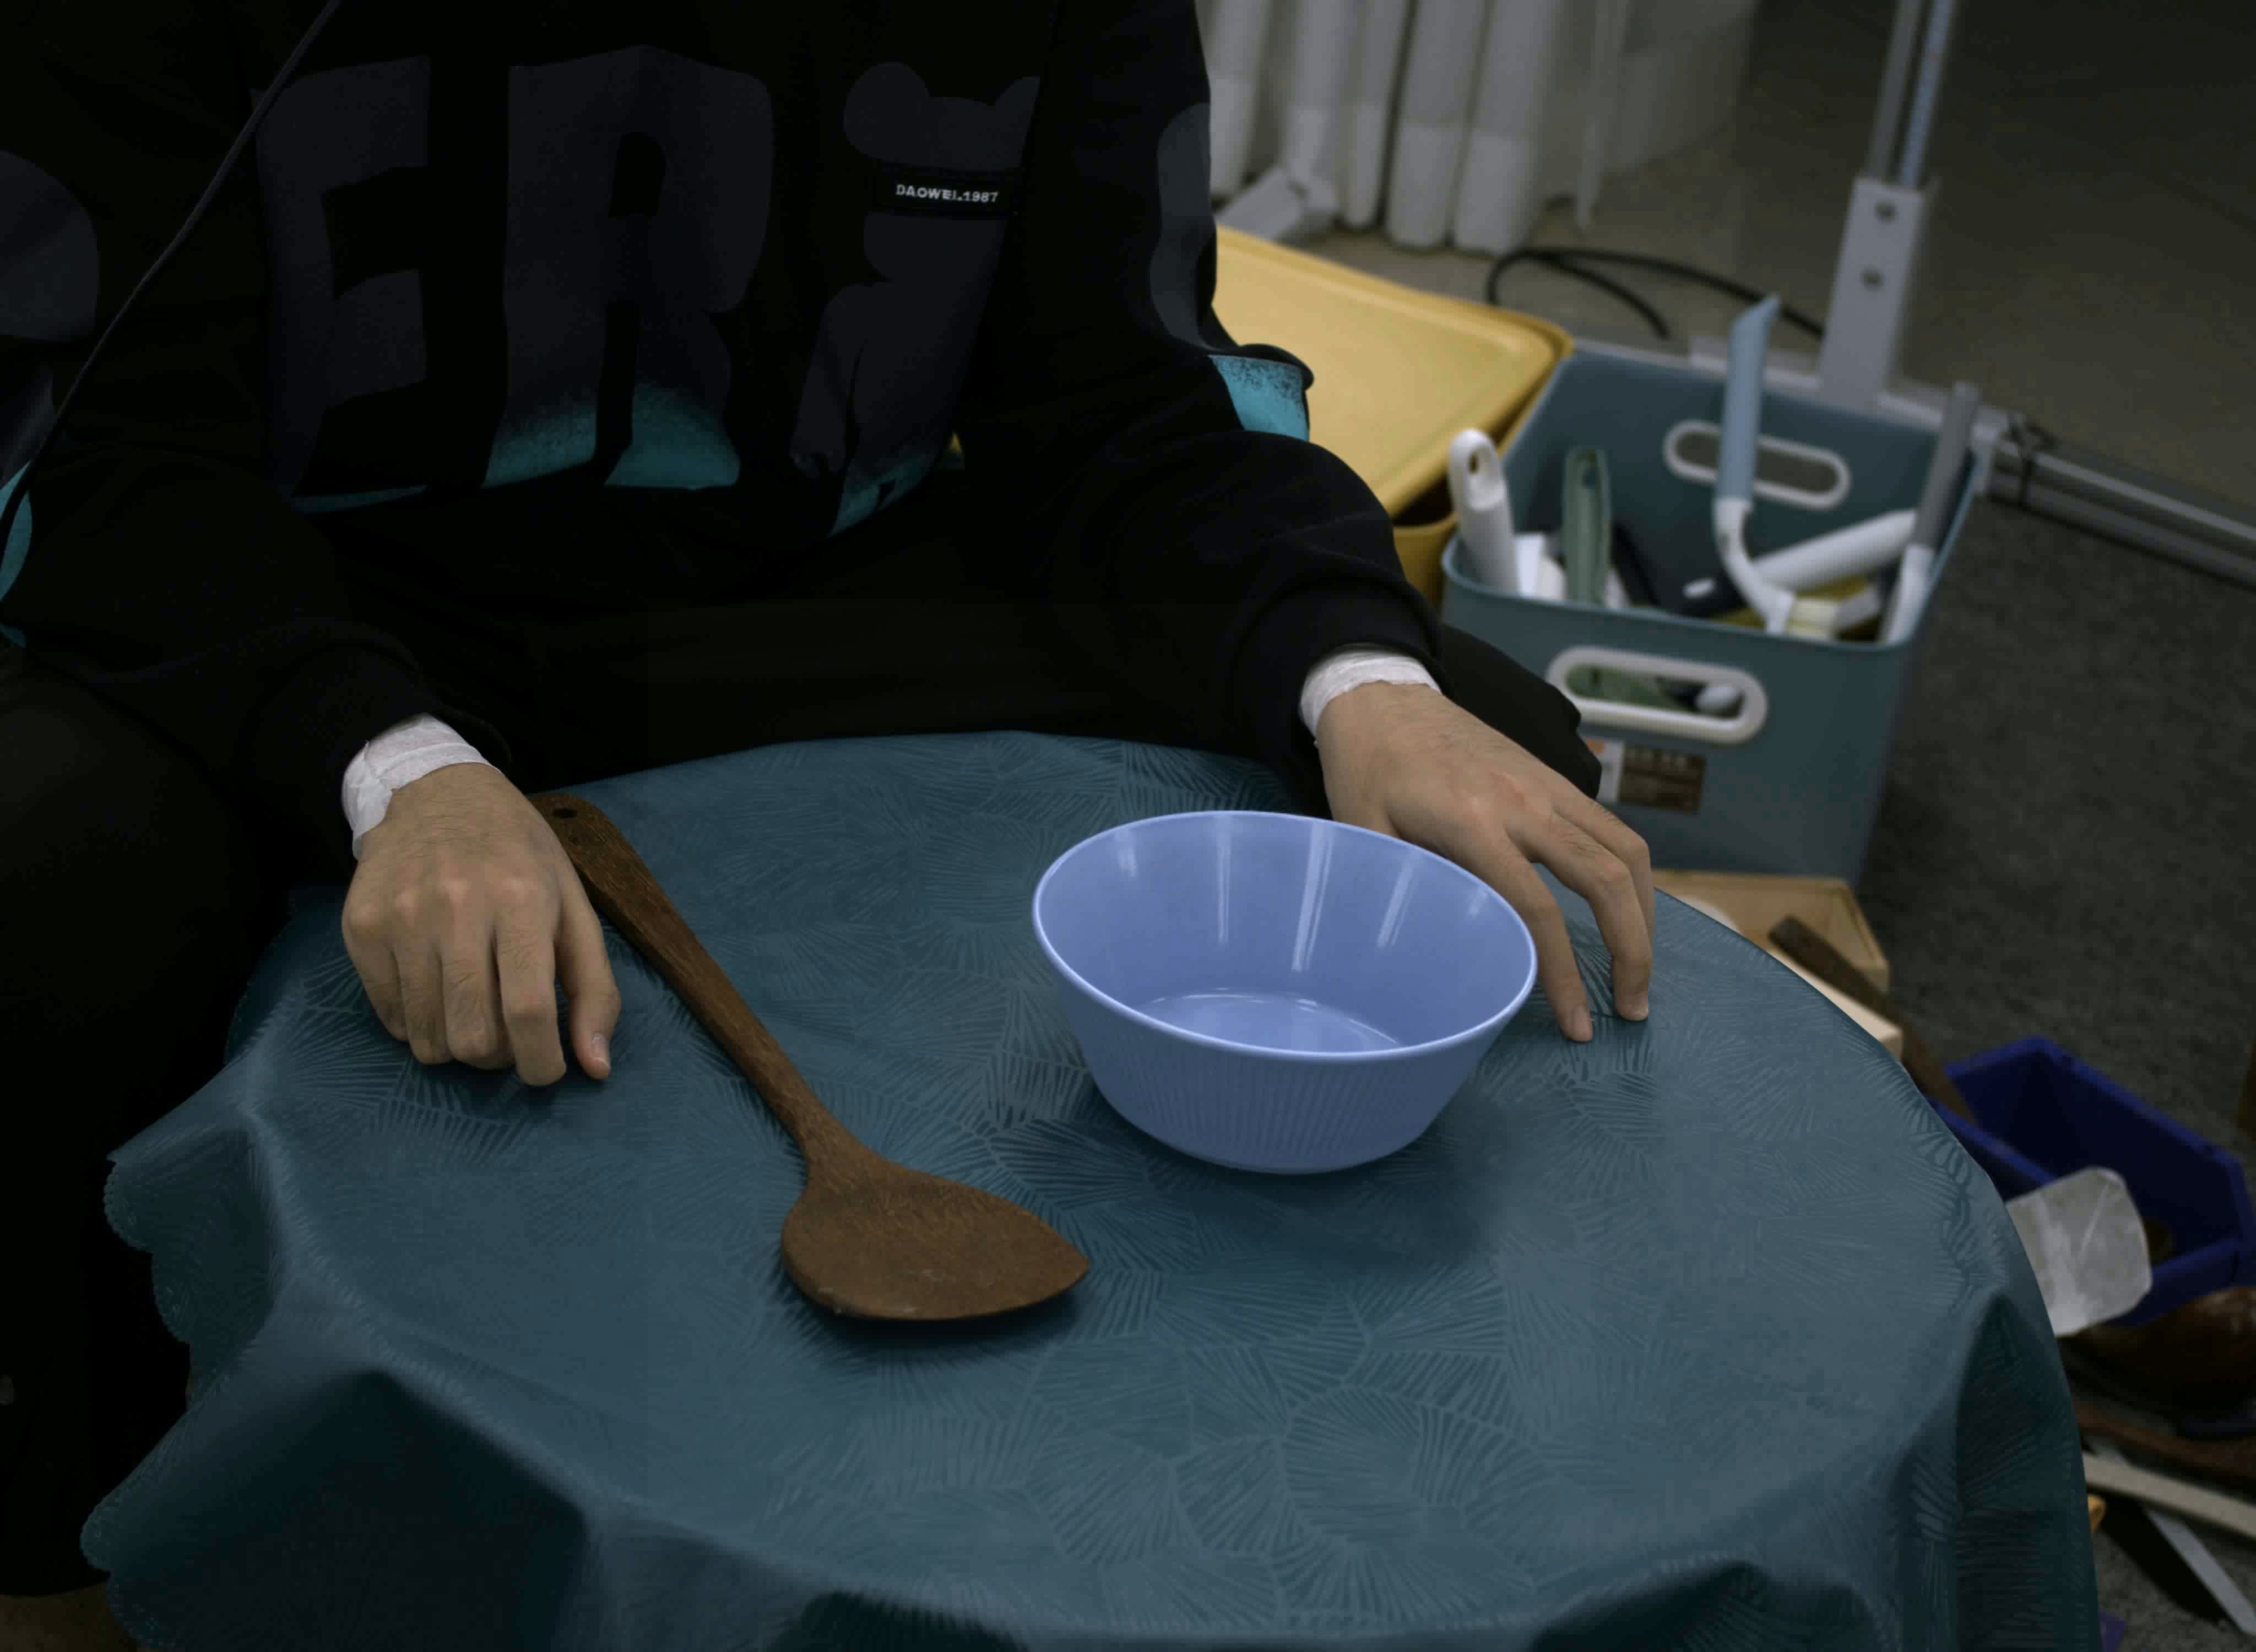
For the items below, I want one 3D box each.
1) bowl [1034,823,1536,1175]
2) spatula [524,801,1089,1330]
[{"bbox_3d":[0.051,0.066,1.850,0.175,0.070,0.177,5,25,-3],"label":"bowl"},{"bbox_3d":[-0.133,0.075,1.852,0.095,0.016,0.389,-7,29,-26],"label":"spatula"}]
